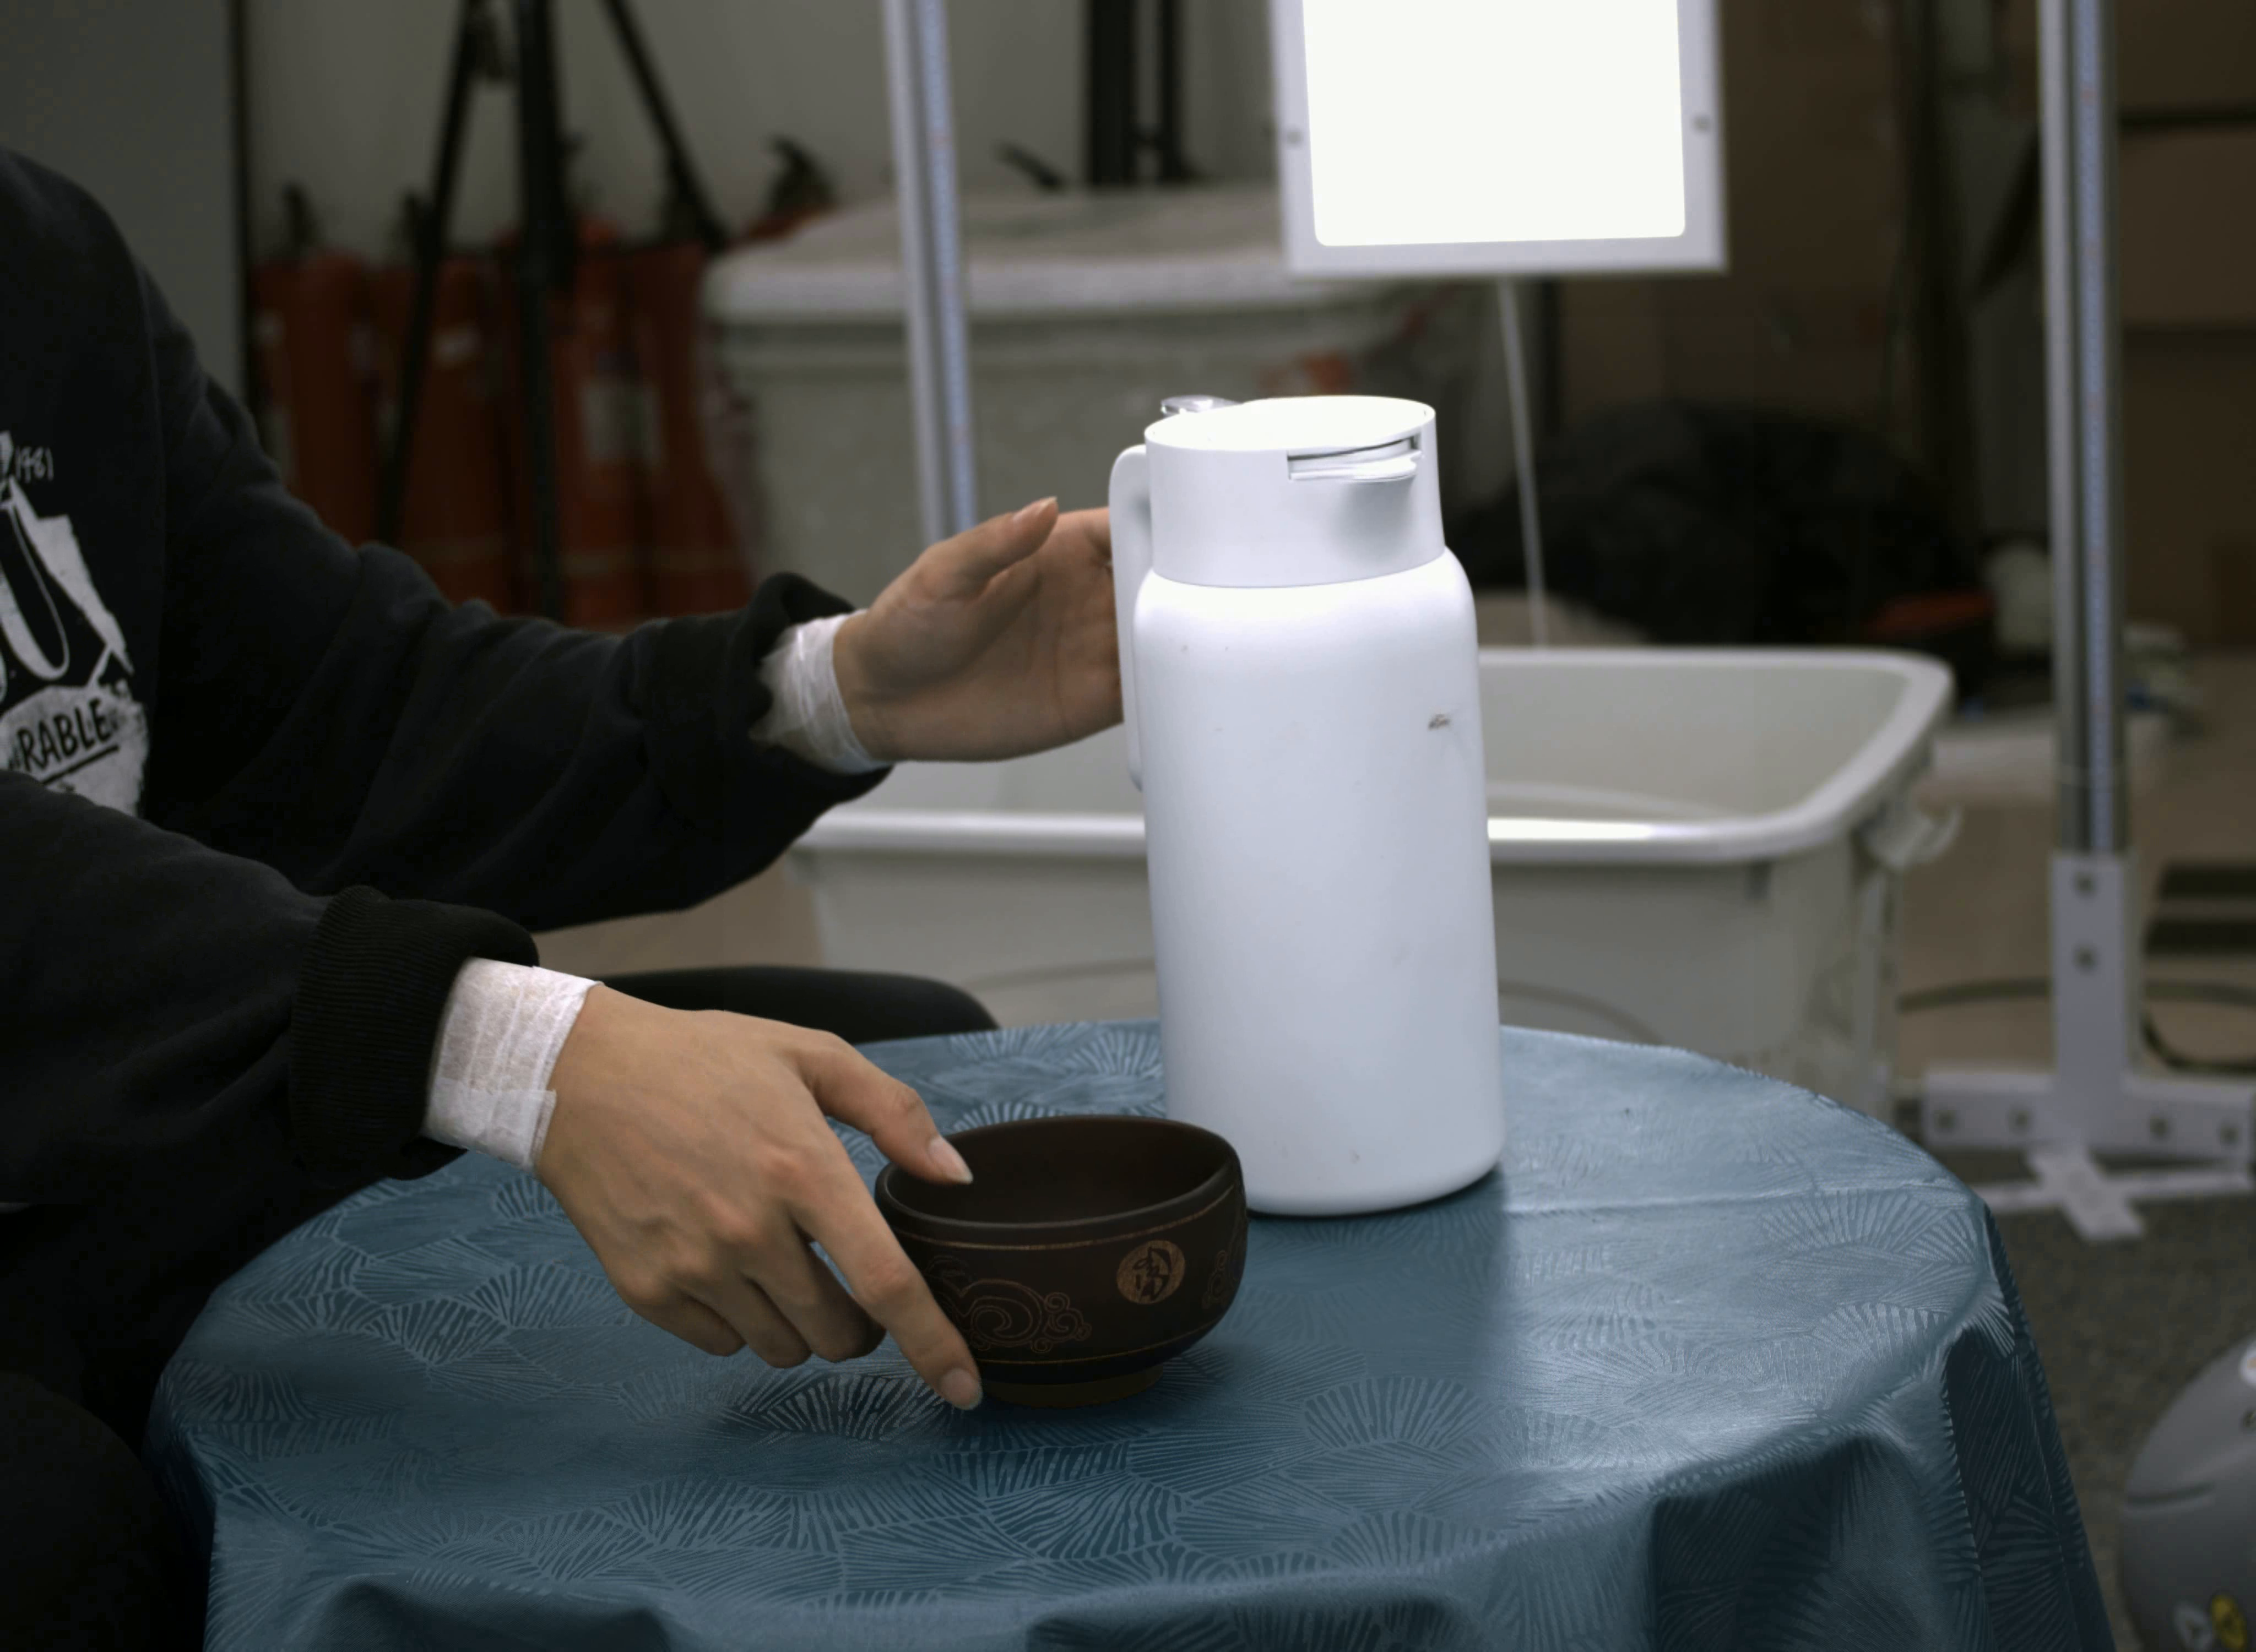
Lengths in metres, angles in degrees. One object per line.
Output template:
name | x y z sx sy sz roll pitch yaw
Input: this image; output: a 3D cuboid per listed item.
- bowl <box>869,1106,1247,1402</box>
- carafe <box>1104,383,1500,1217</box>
bowl | -0.020 0.137 1.711 0.118 0.070 0.118 -5 14 0
carafe | 0.052 -0.011 1.881 0.121 0.270 0.176 -14 17 -28
